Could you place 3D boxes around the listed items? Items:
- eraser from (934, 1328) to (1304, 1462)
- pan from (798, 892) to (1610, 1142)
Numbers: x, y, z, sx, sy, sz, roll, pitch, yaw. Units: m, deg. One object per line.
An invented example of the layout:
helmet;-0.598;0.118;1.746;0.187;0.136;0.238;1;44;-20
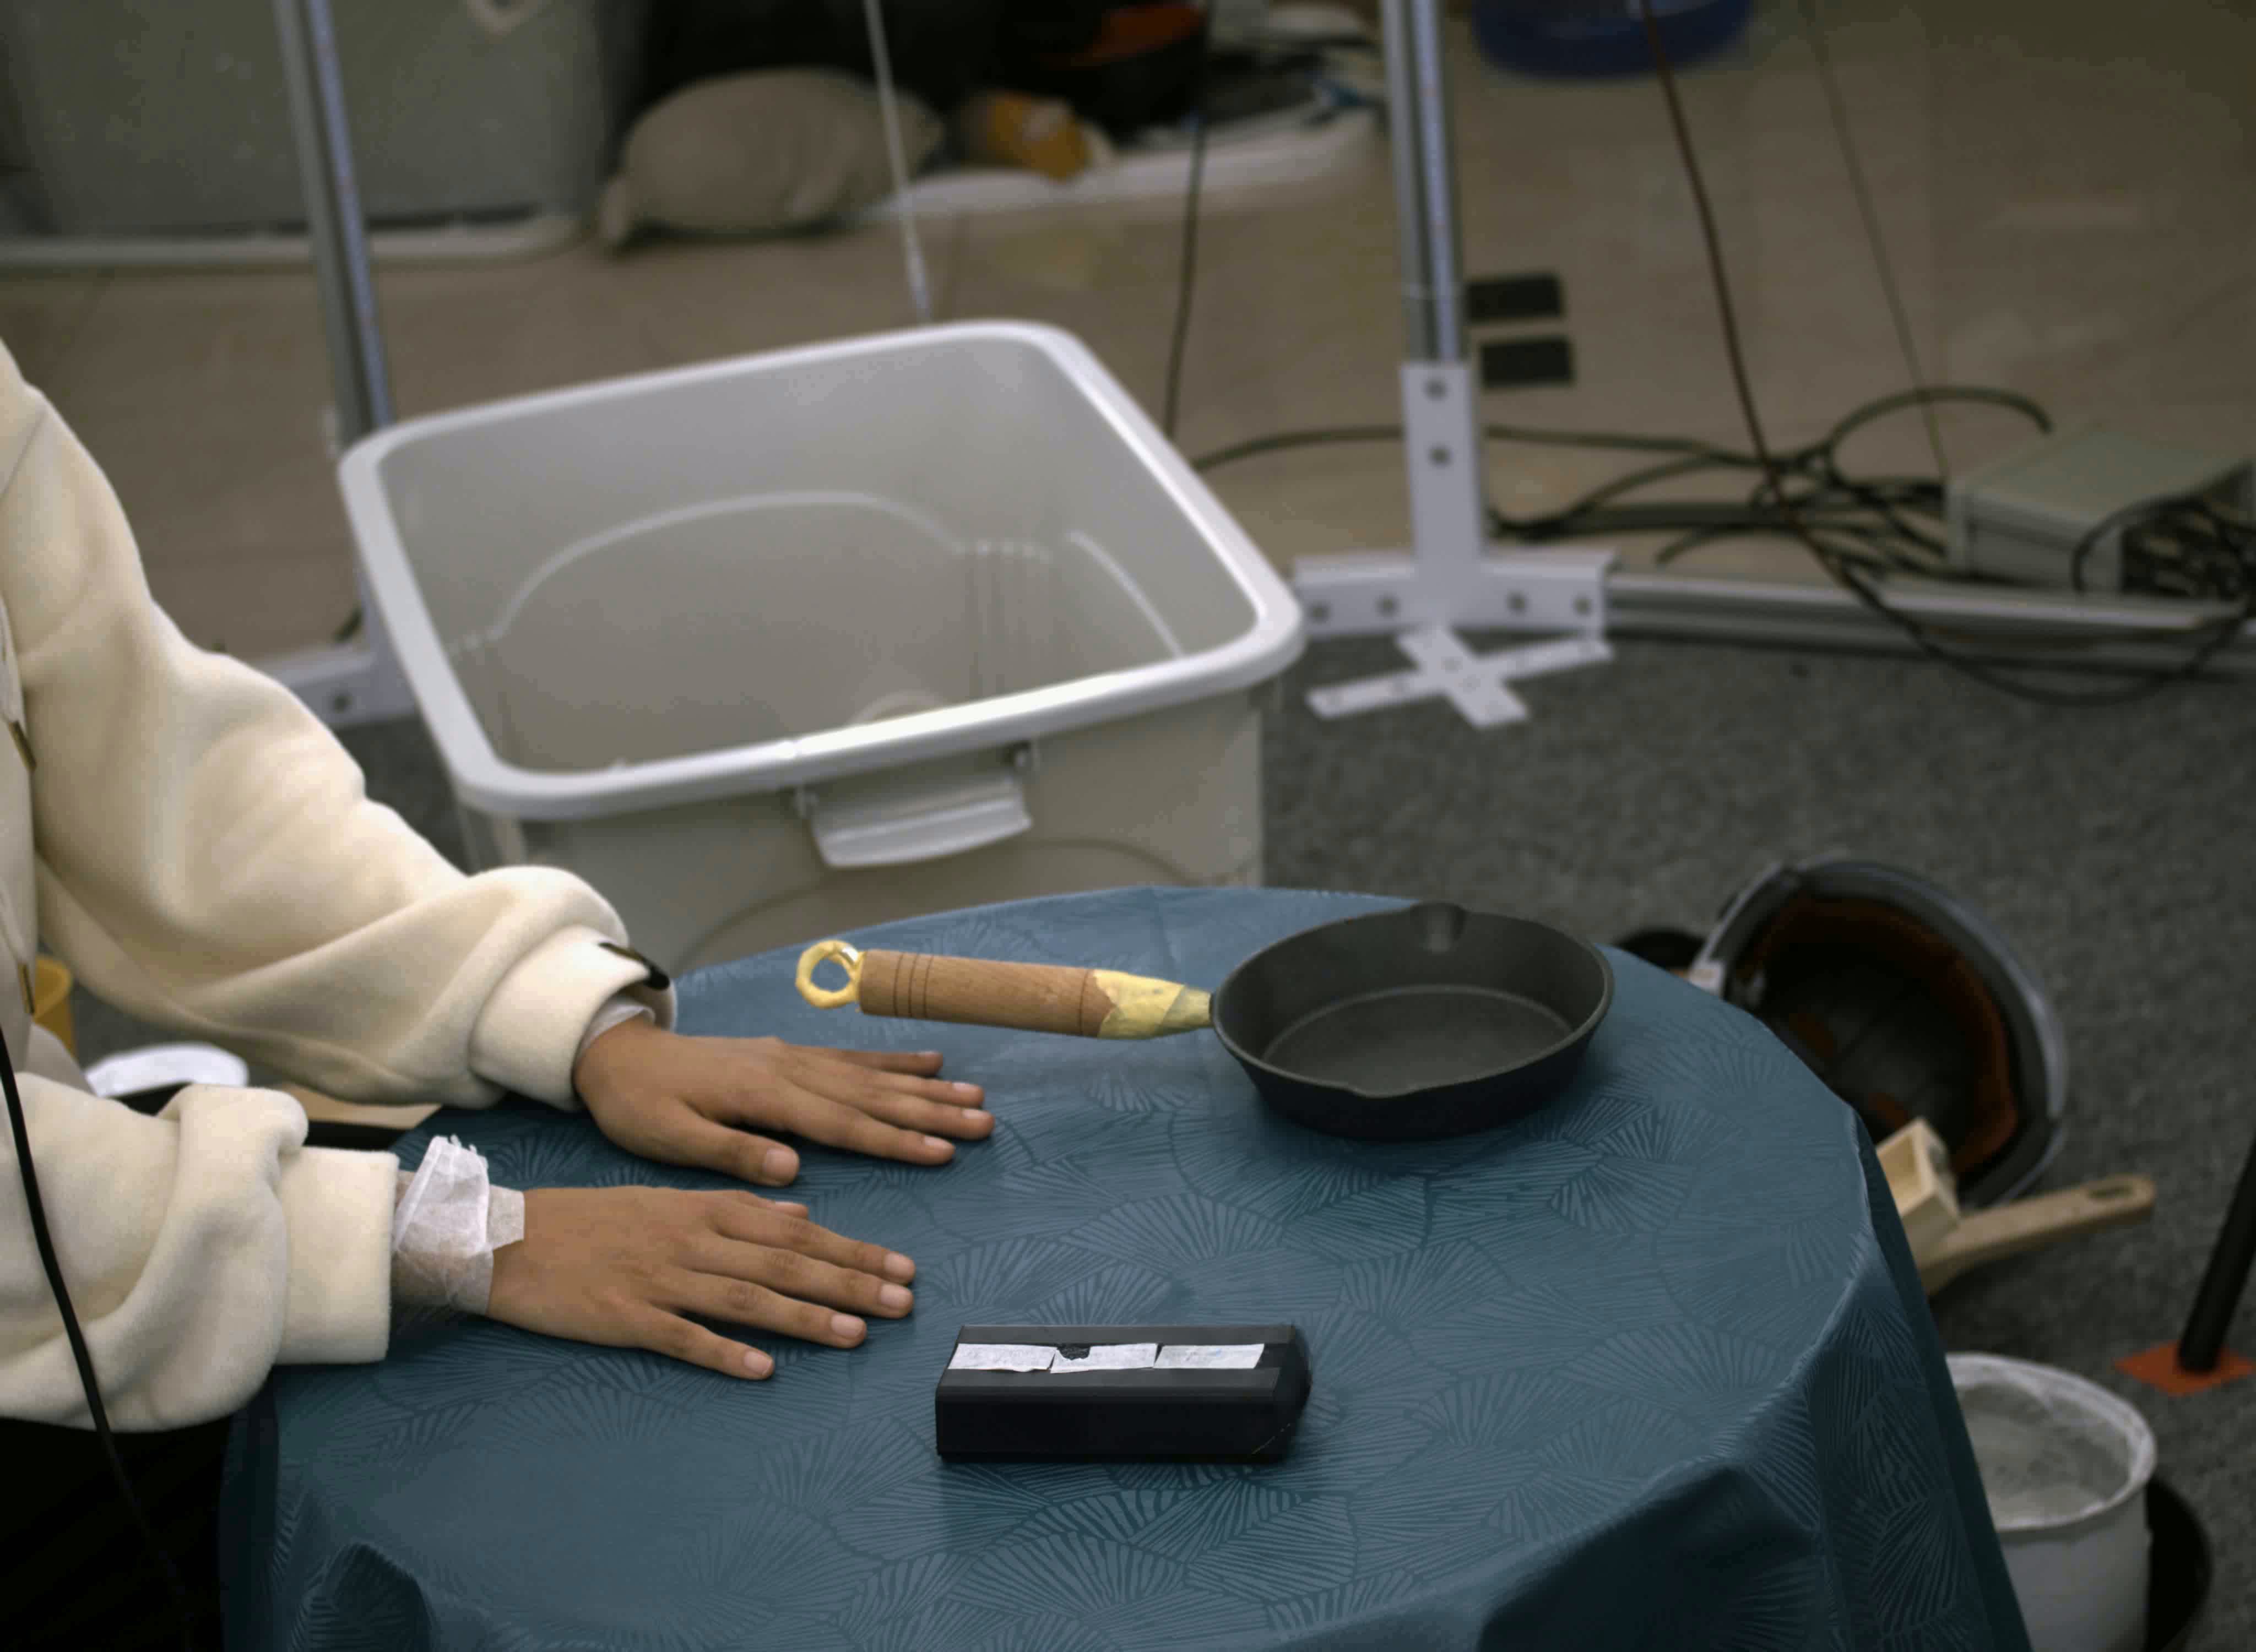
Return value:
eraser;-0.002;0.199;1.988;0.125;0.031;0.053;-2;25;13
pan;0.029;0.072;2.224;0.323;0.050;0.166;1;27;14
